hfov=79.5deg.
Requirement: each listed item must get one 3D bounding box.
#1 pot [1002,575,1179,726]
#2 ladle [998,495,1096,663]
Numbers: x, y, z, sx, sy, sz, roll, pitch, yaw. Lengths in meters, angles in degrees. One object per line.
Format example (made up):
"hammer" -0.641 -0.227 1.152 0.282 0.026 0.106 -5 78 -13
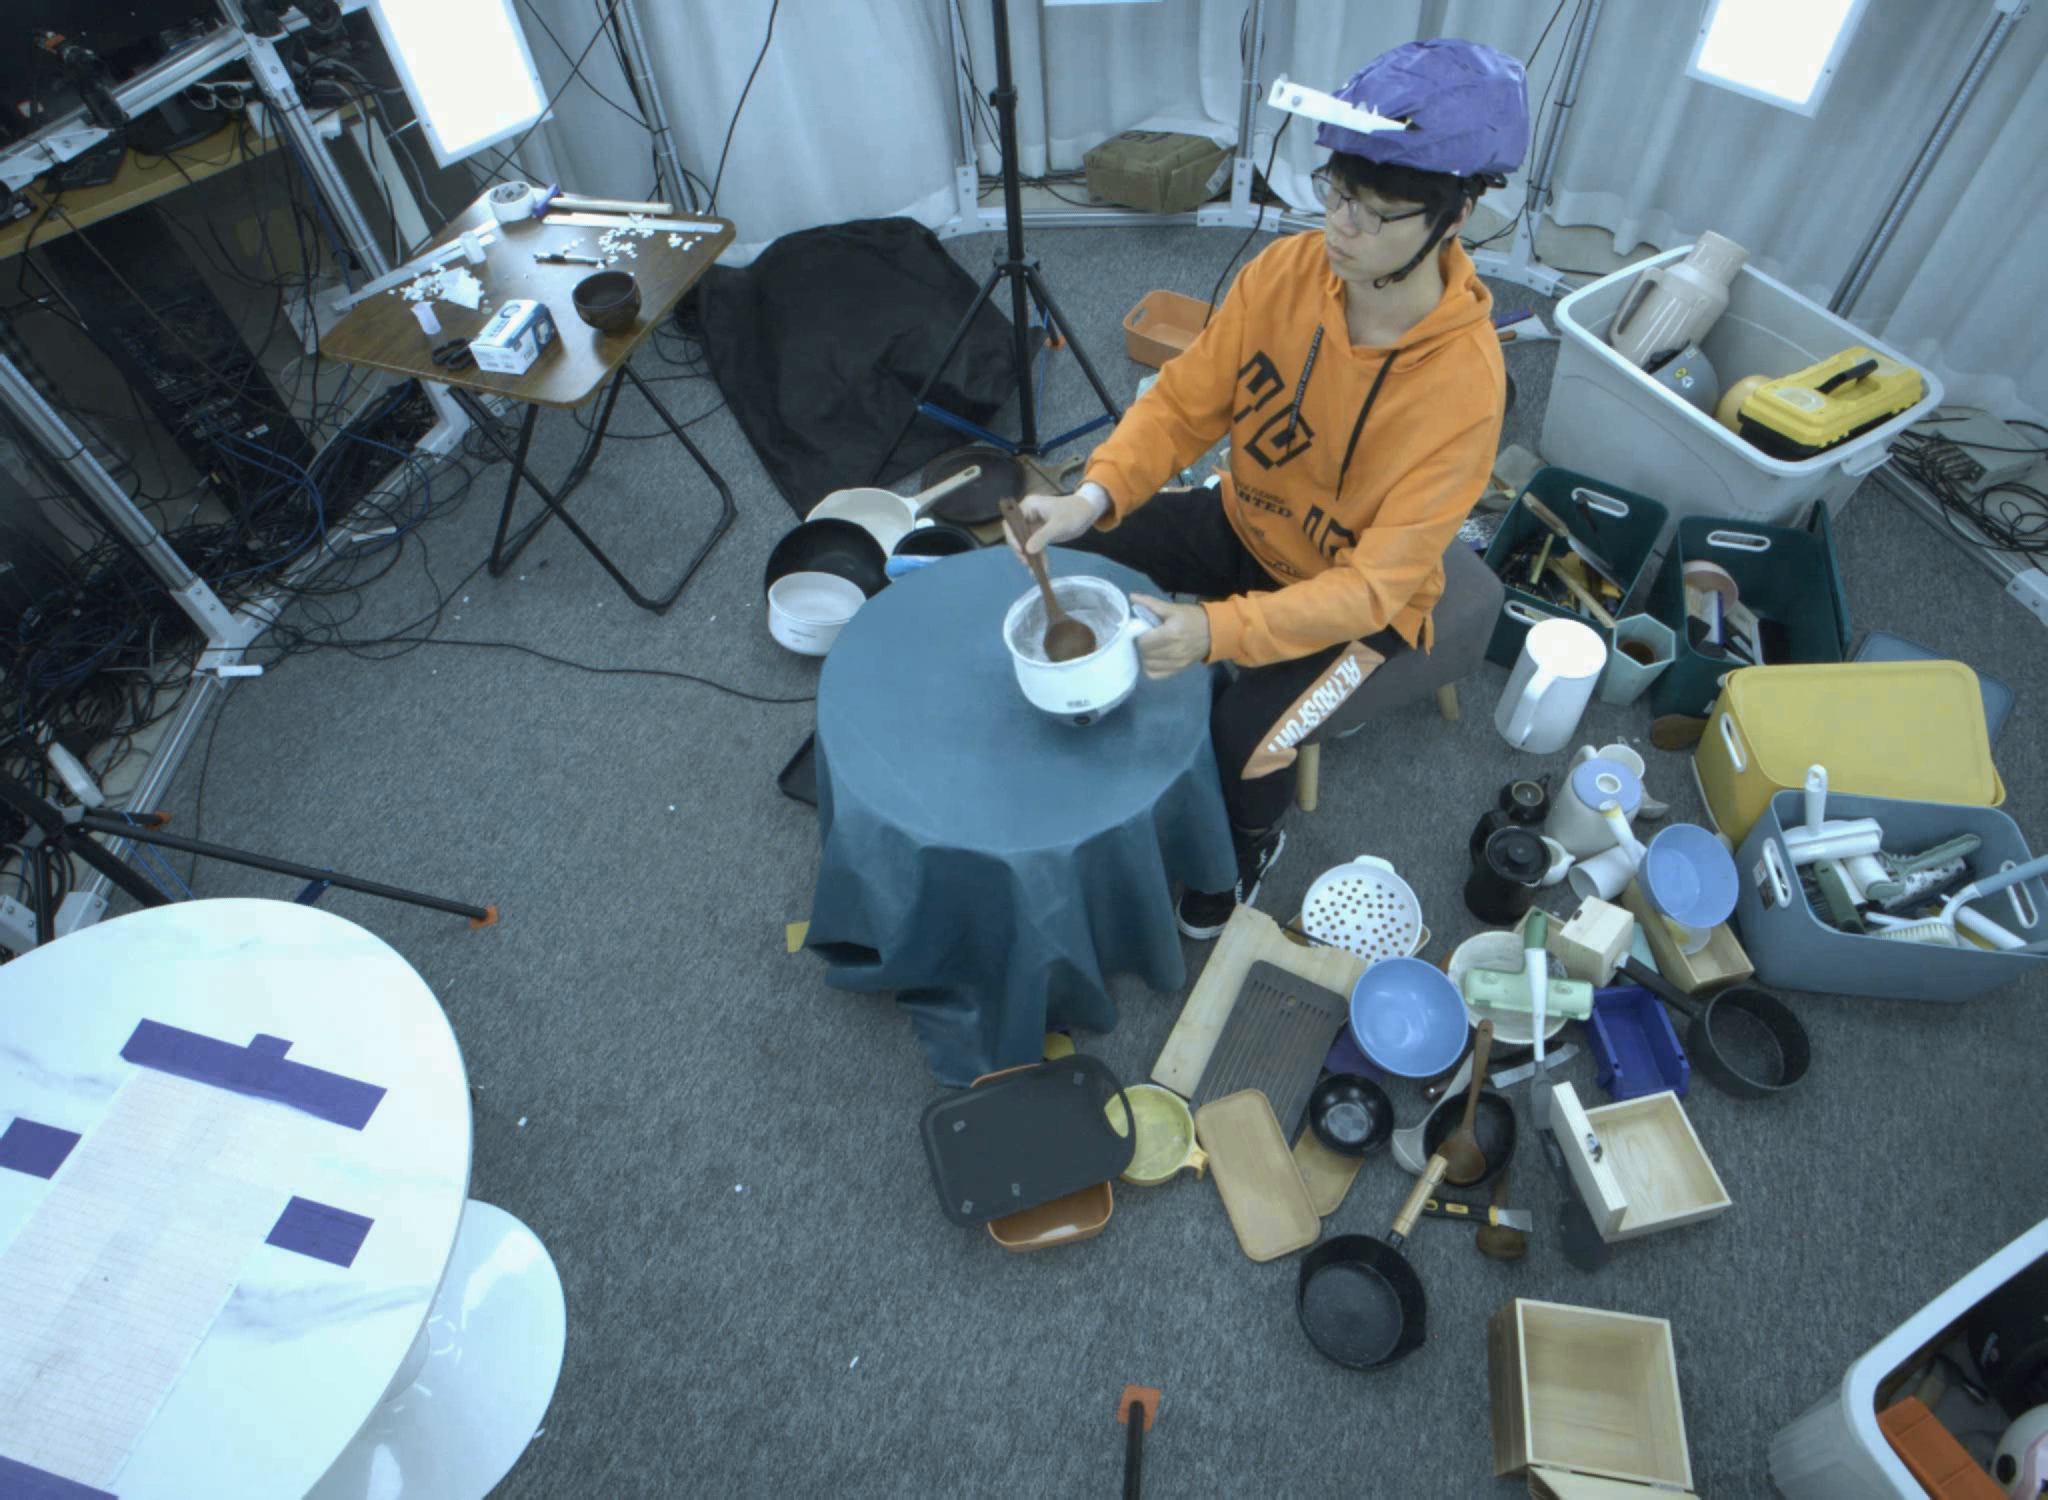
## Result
"pot" 0.097 -0.145 1.736 0.232 0.139 0.176 -10 50 9
"ladle" 0.025 -0.237 1.706 0.077 0.064 0.261 -25 100 -13
